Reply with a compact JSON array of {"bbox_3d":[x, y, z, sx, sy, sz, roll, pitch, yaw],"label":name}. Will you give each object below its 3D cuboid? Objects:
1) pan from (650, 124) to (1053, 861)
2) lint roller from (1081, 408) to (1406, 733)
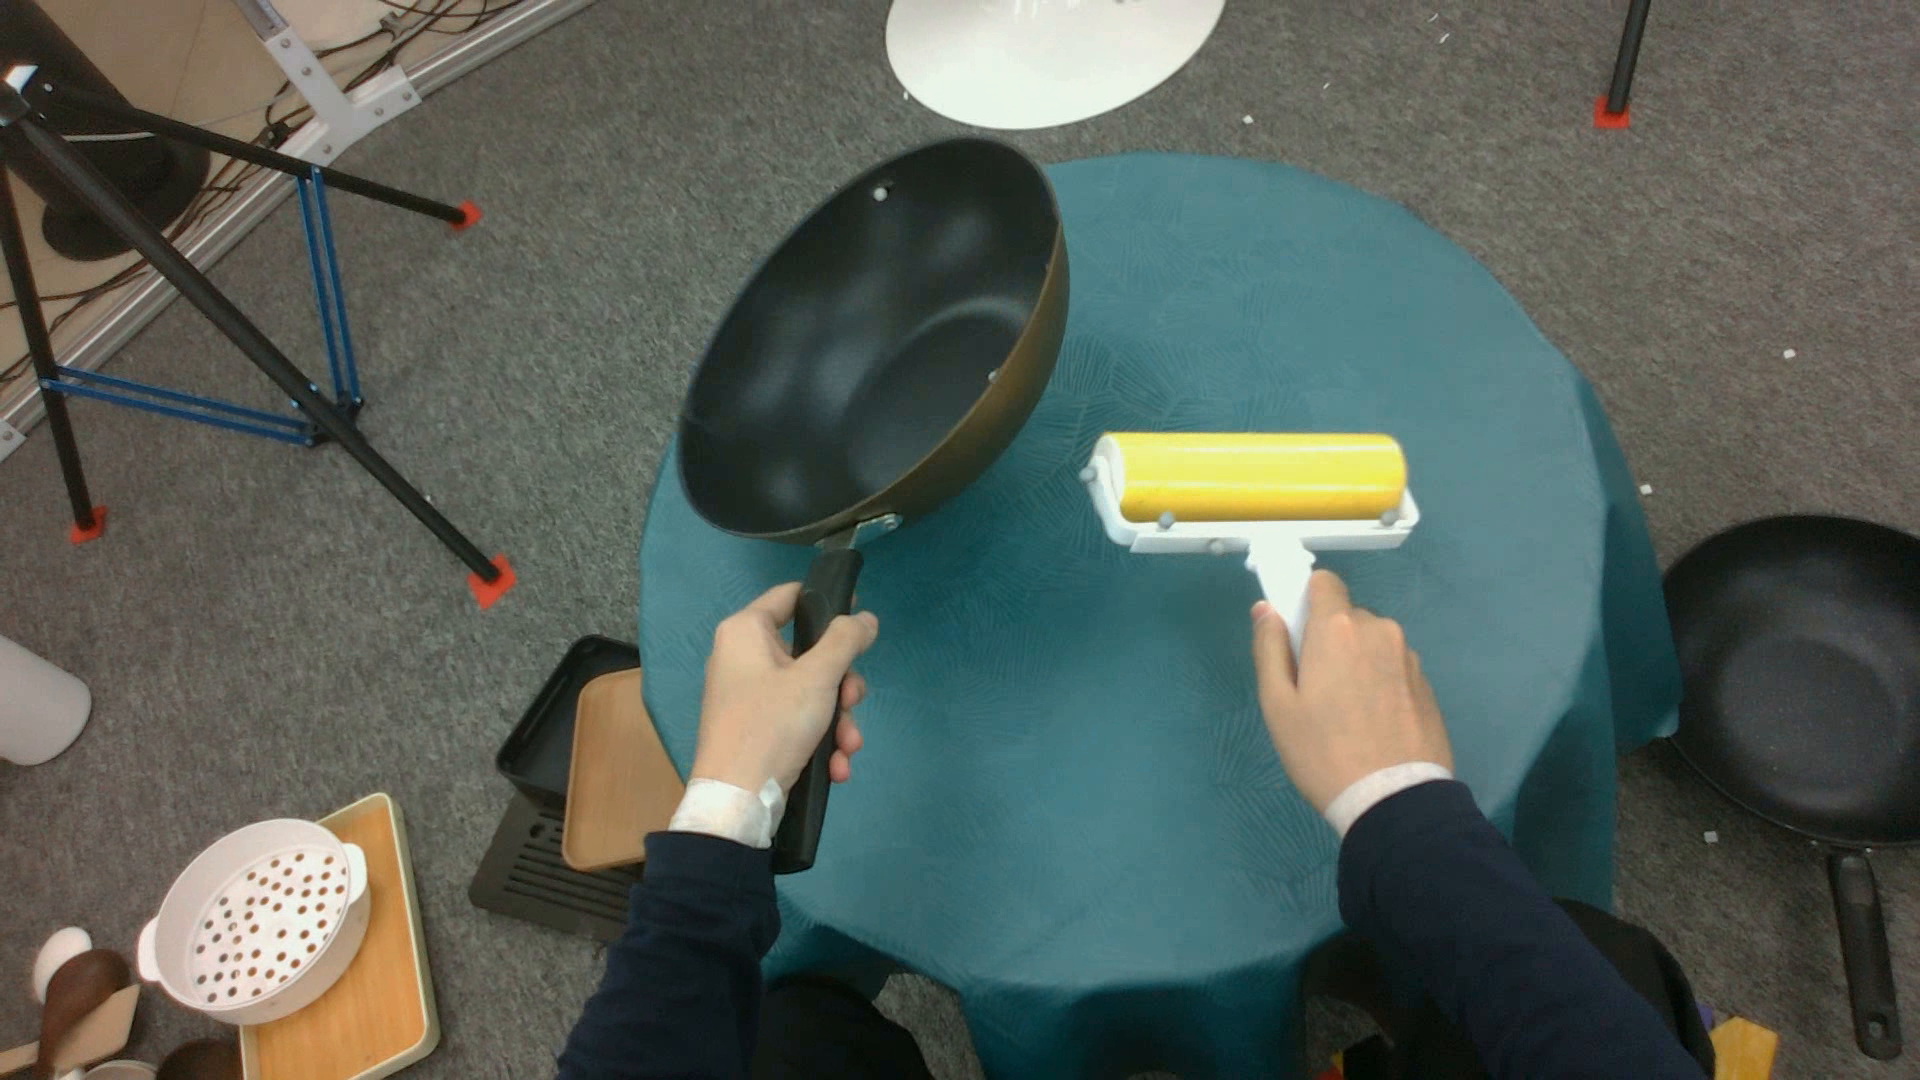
[{"bbox_3d":[-0.057,-0.036,0.772,0.287,0.087,0.465,-19,51,27],"label":"pan"},{"bbox_3d":[0.165,0.006,0.694,0.174,0.051,0.193,-3,45,-15],"label":"lint roller"}]
